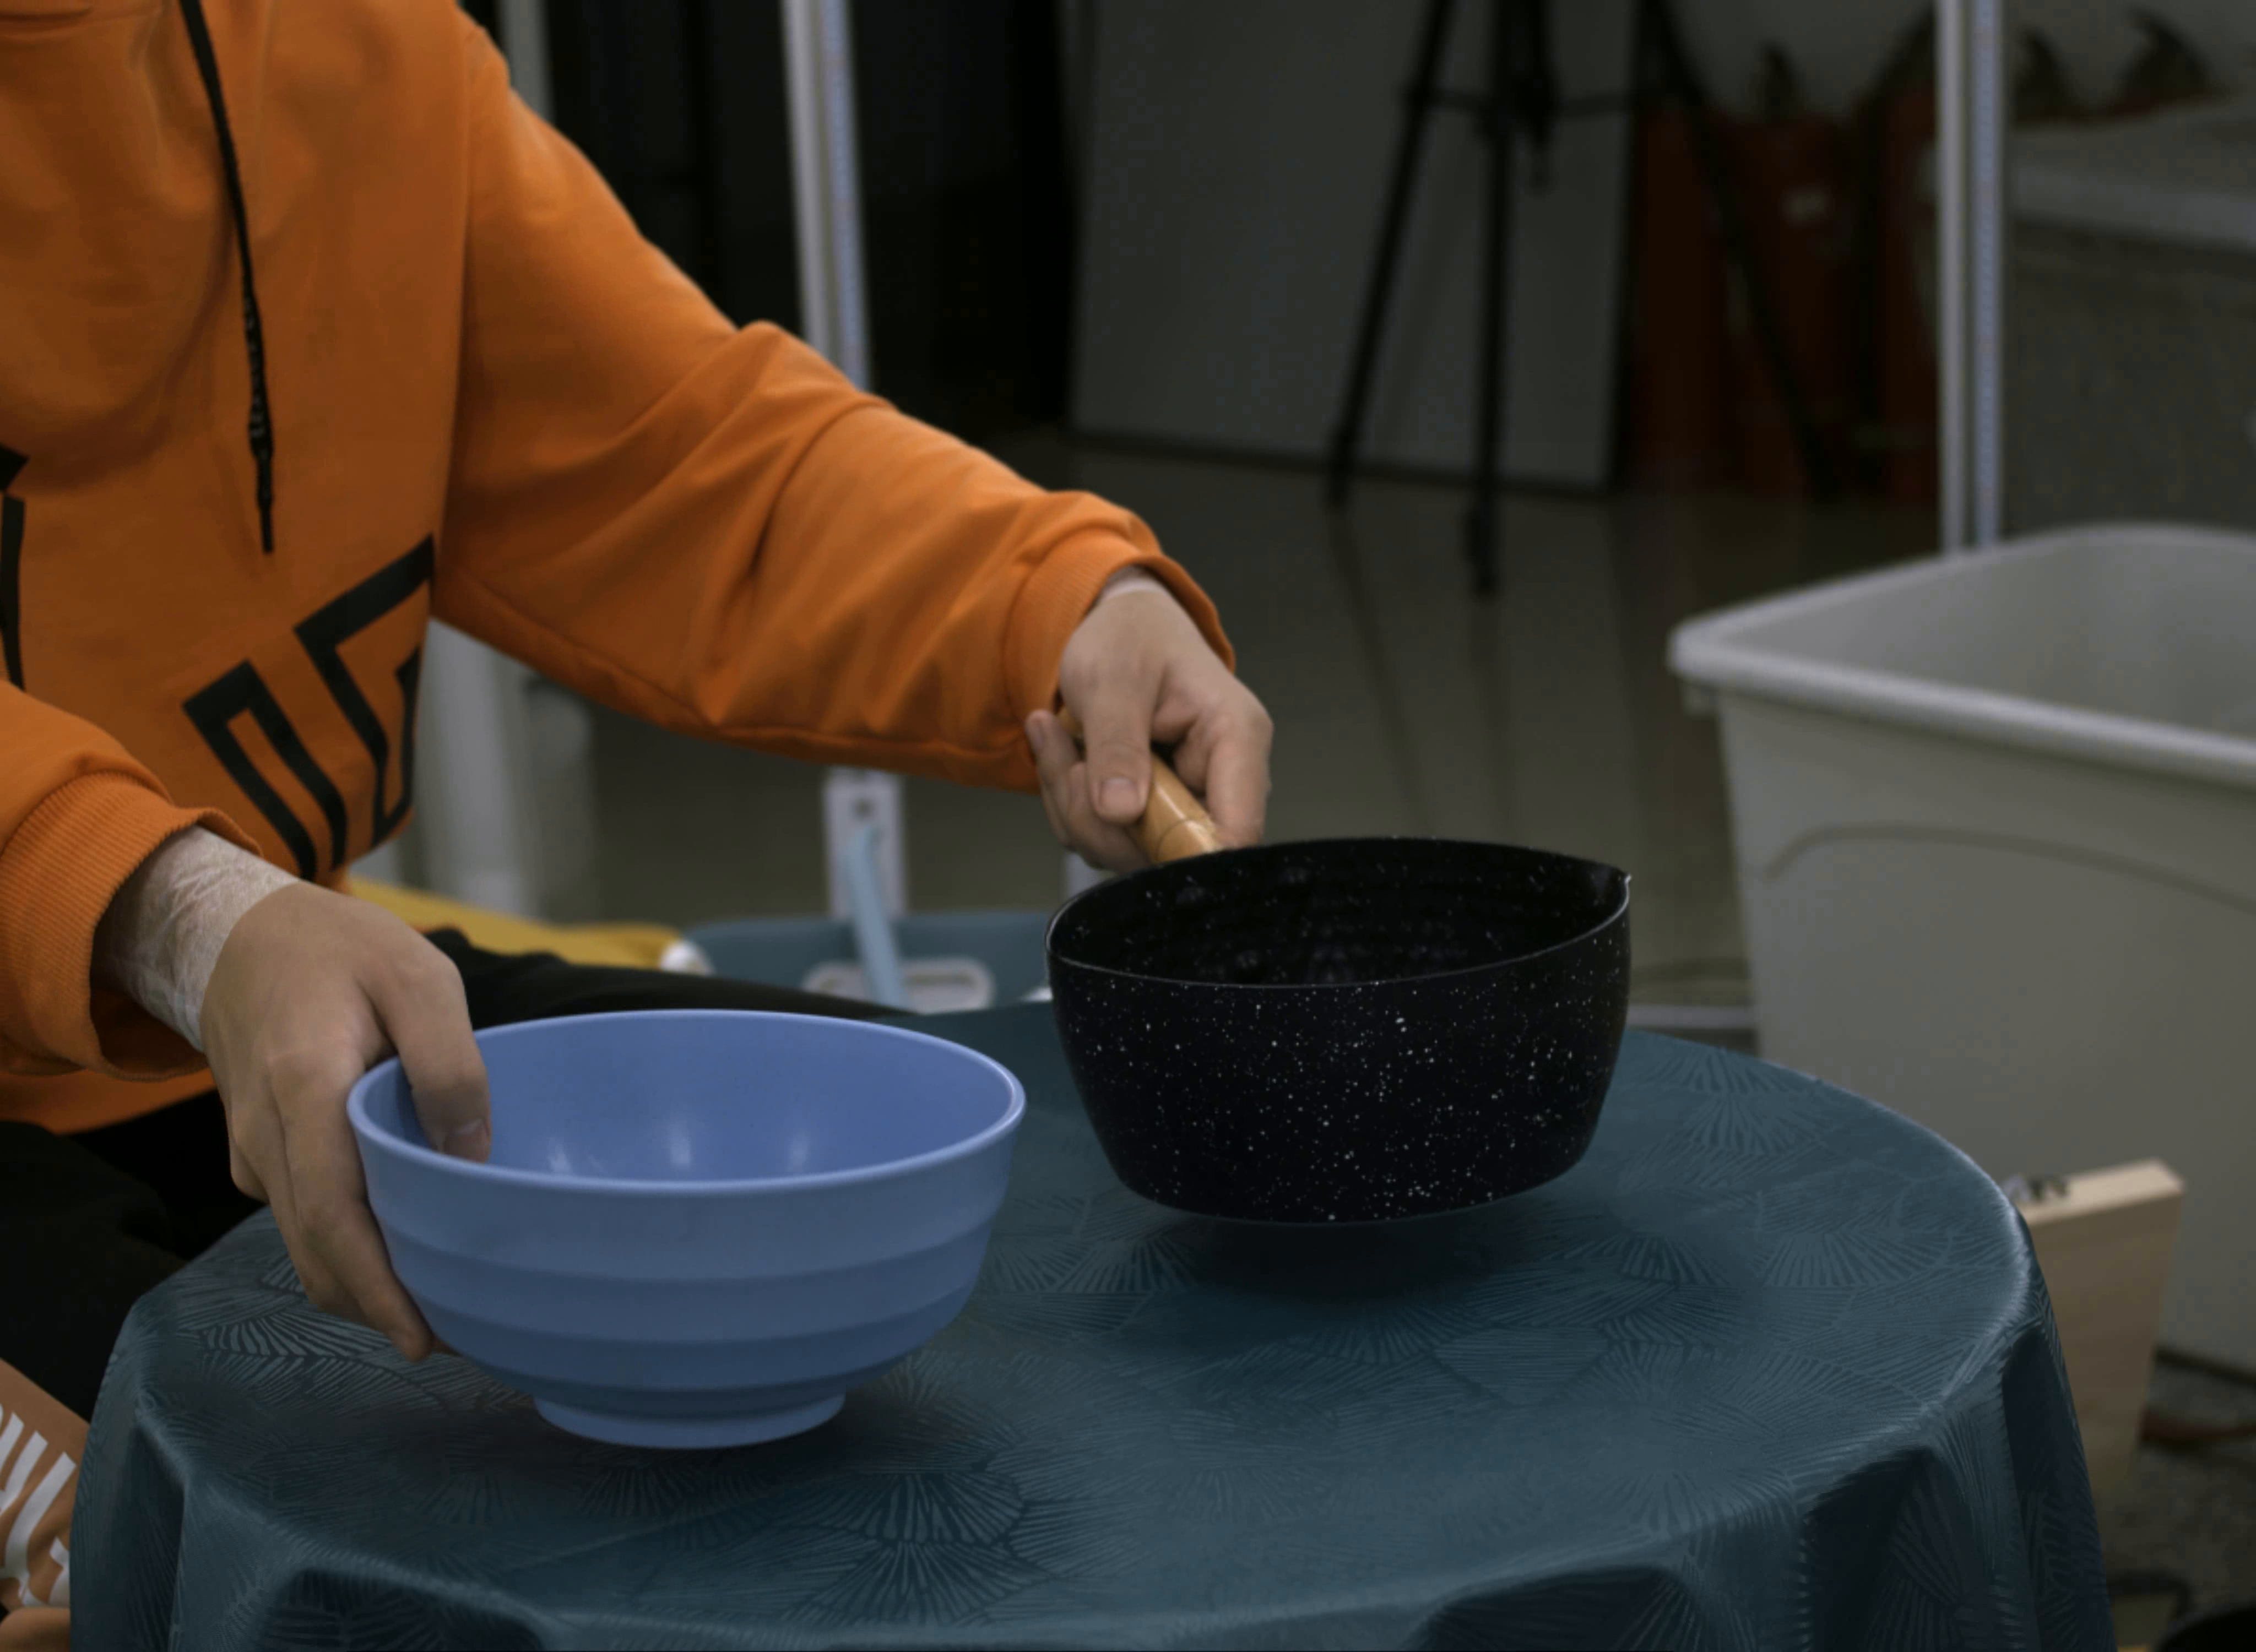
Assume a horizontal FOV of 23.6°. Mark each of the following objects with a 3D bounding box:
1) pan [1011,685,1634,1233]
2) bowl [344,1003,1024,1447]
[{"bbox_3d":[0.040,0.038,1.769,0.203,0.109,0.346,-10,15,-18],"label":"pan"},{"bbox_3d":[-0.127,0.119,1.557,0.194,0.096,0.197,0,12,-1],"label":"bowl"}]
